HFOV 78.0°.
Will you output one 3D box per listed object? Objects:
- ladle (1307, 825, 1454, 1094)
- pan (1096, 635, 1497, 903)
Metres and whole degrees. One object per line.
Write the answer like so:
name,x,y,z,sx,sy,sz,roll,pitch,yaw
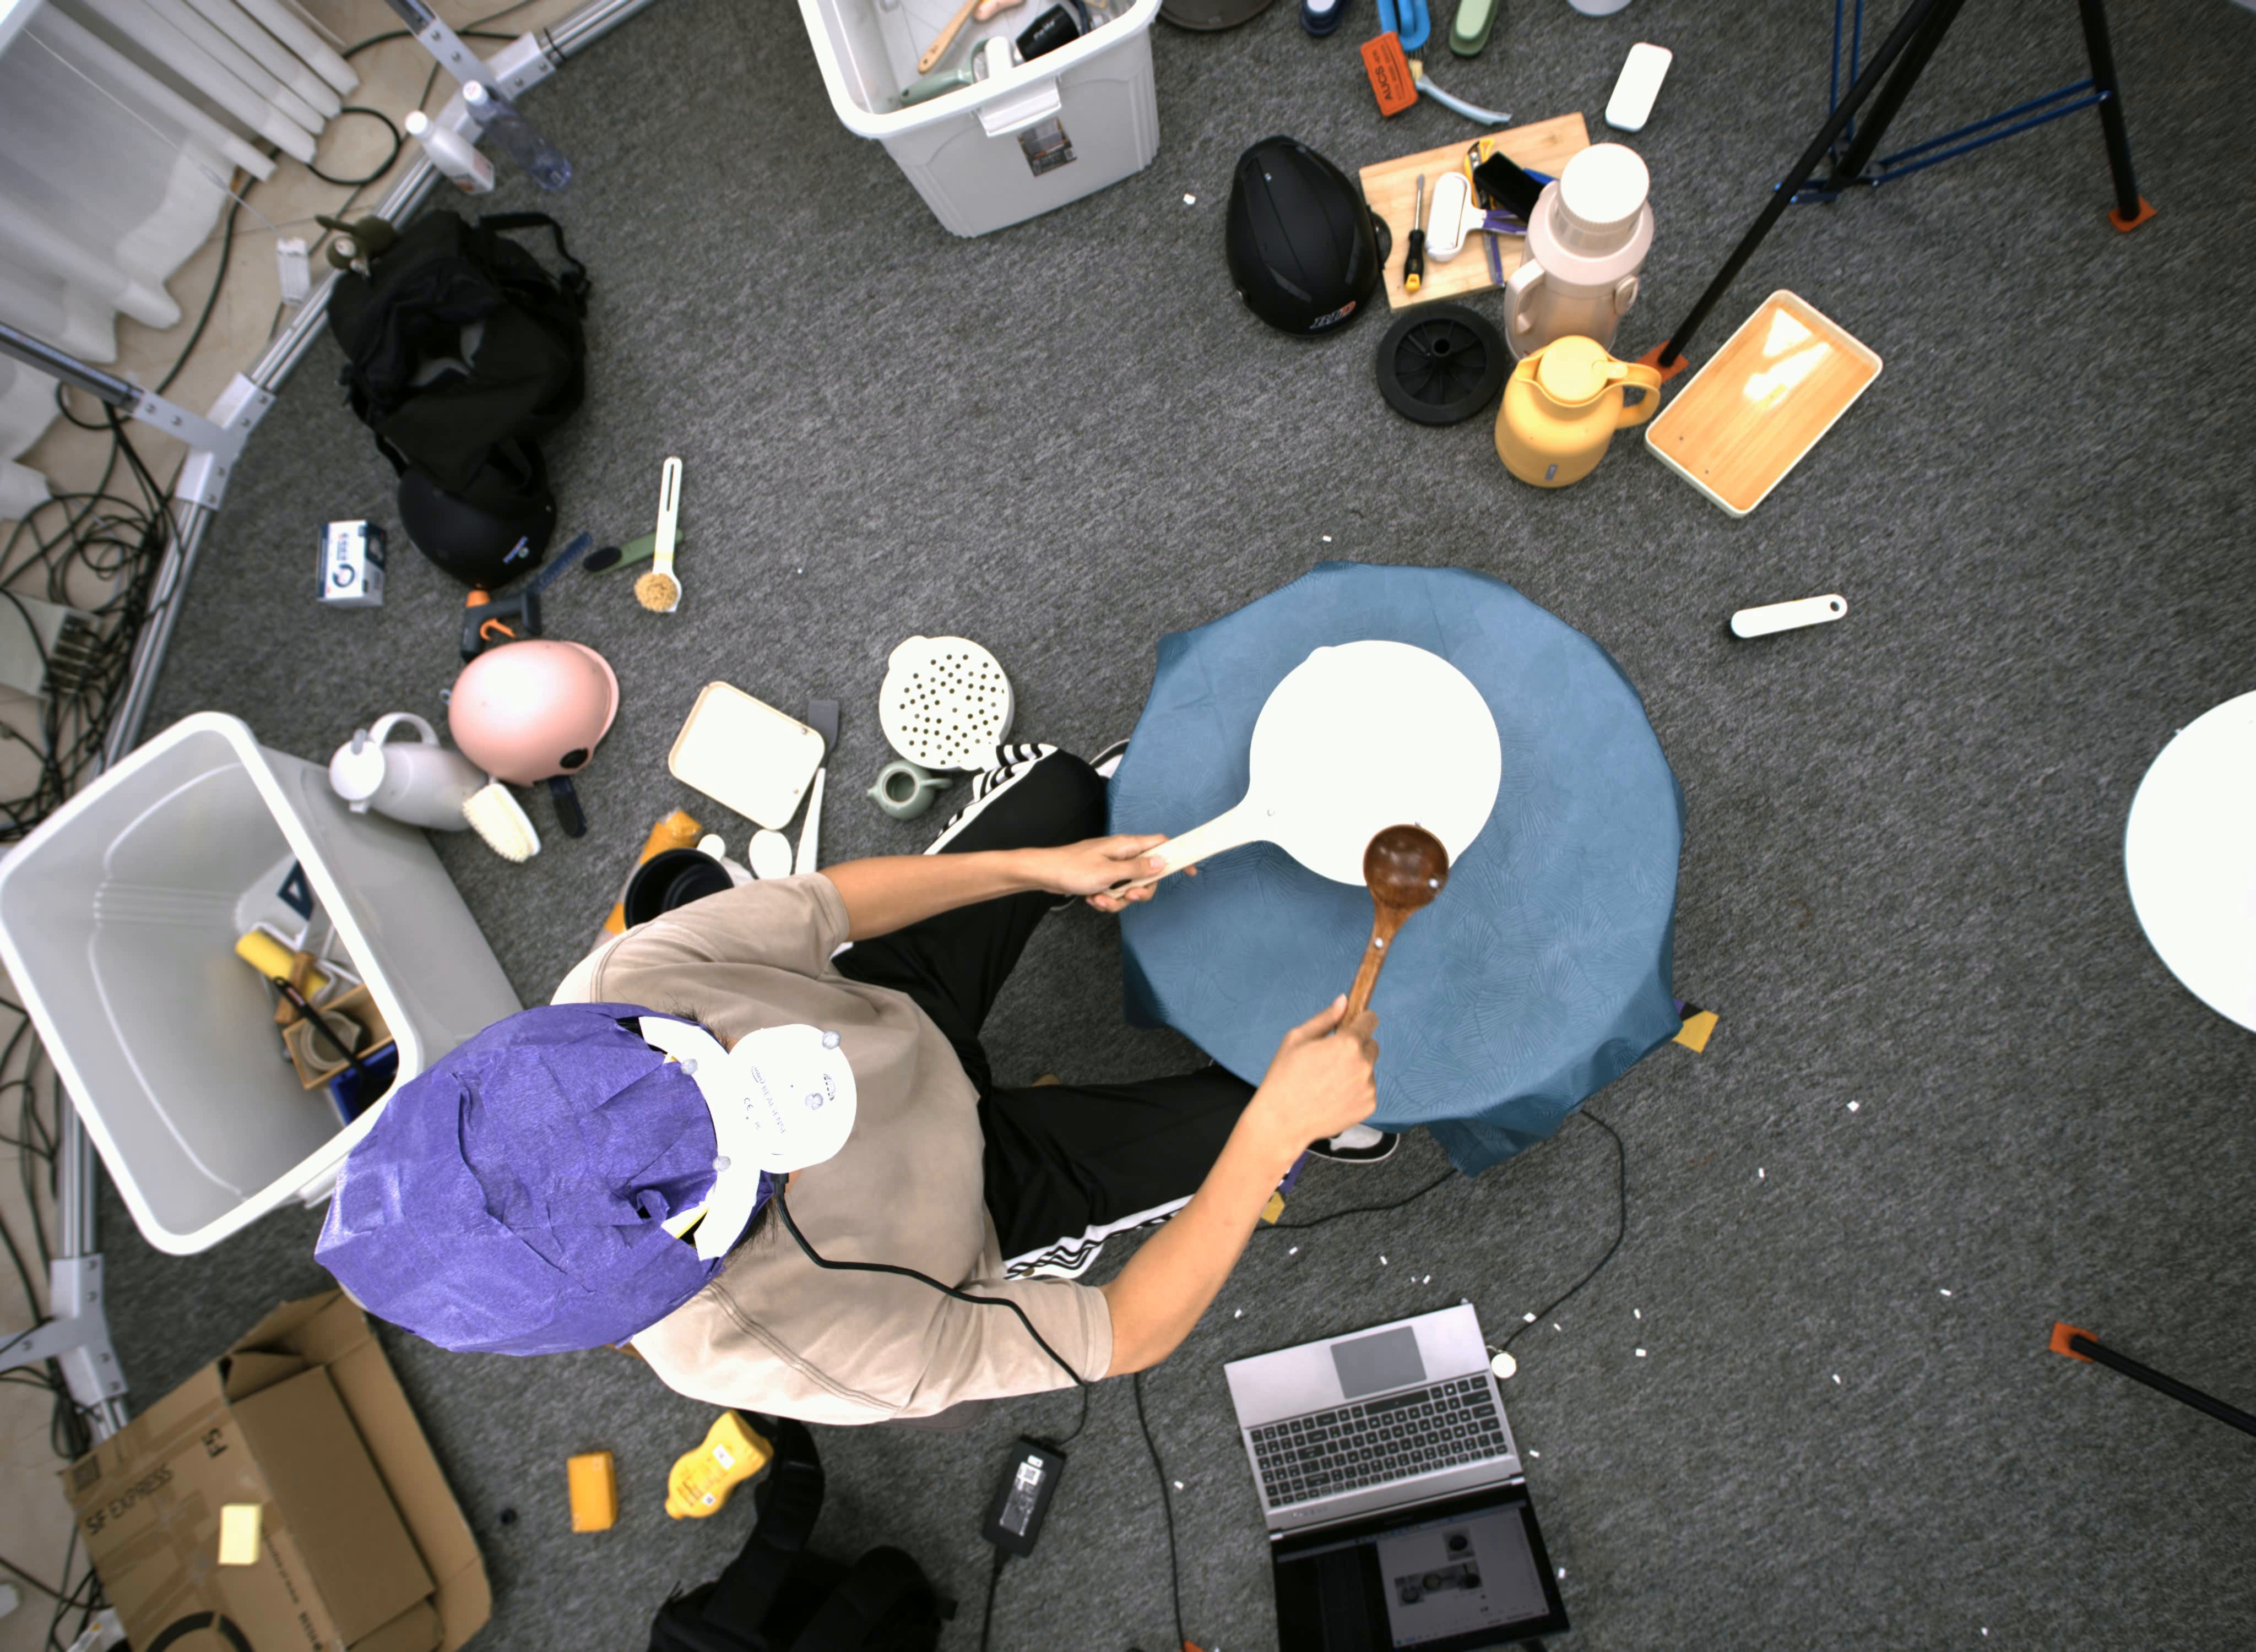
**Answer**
ladle,0.219,0.110,1.228,0.082,0.078,0.267,15,51,22
pan,0.169,-0.027,1.436,0.437,0.102,0.262,-26,84,8
